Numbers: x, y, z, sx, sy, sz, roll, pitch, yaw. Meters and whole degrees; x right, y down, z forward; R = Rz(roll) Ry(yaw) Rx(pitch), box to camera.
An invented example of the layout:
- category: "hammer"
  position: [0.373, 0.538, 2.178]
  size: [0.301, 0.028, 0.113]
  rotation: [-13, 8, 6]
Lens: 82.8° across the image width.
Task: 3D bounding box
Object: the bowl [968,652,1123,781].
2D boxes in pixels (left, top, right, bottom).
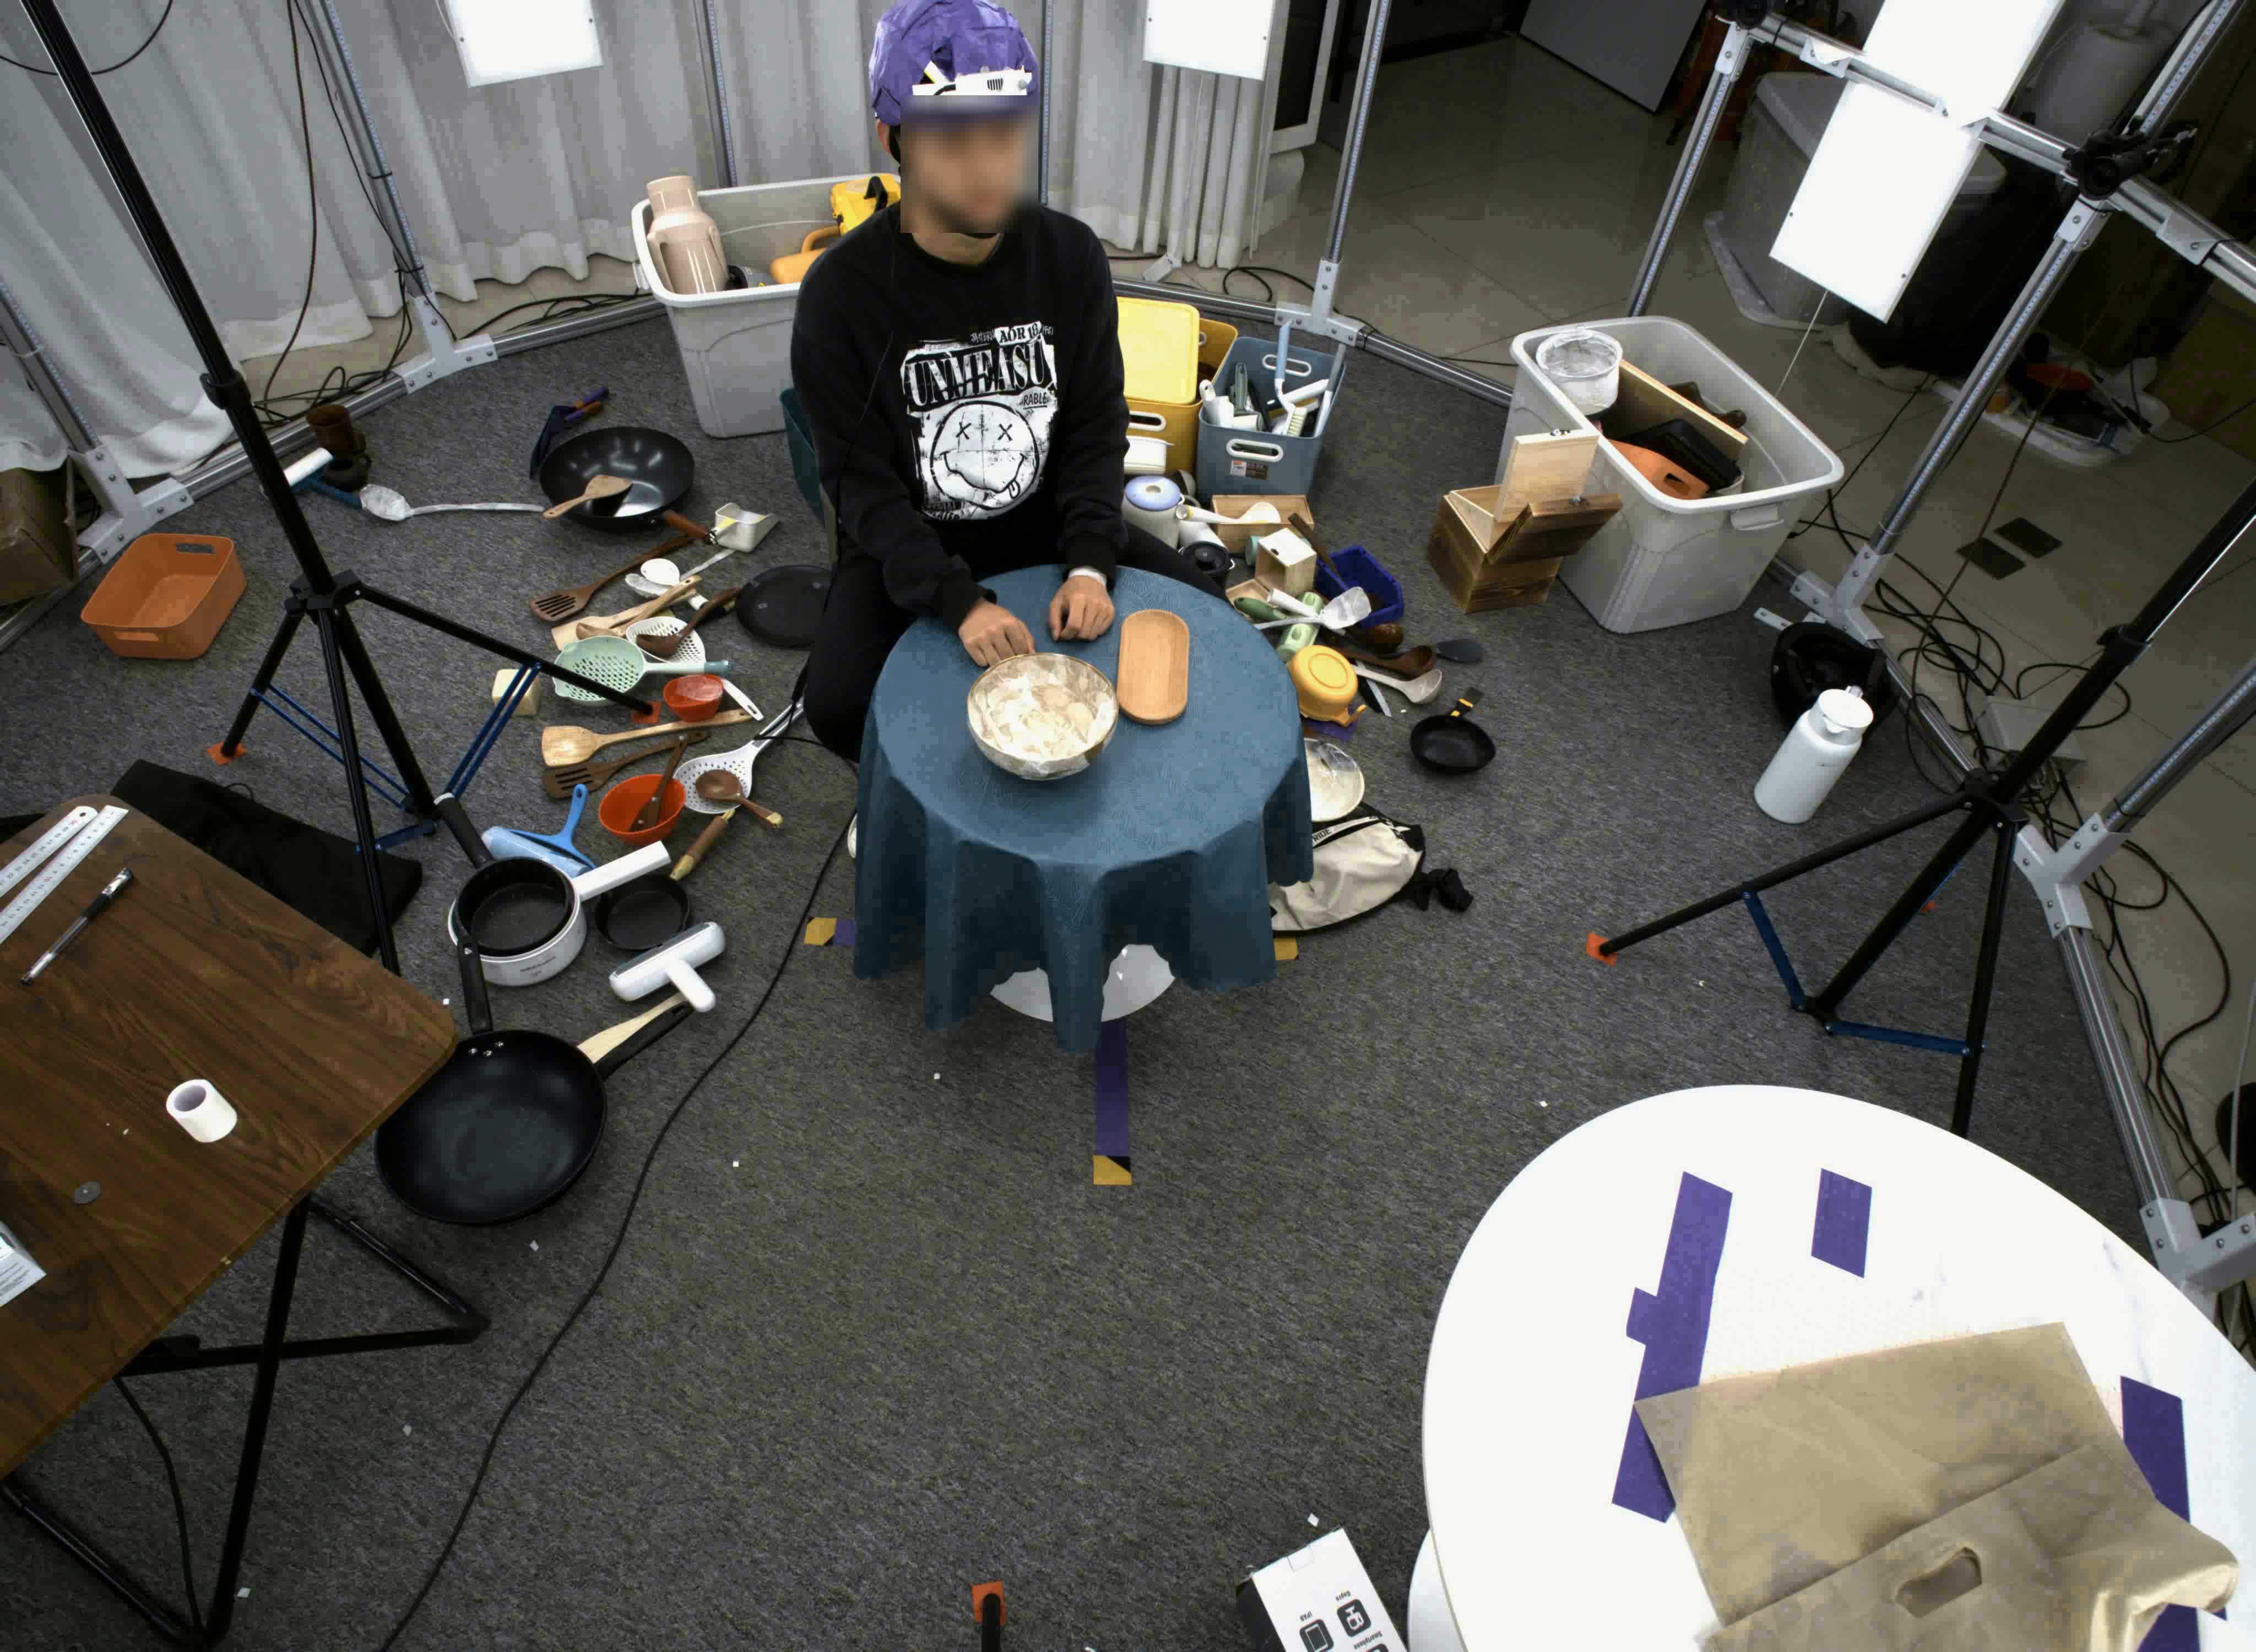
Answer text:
- category: "bowl"
  position: [-0.110, -0.134, 1.732]
  size: [0.214, 0.092, 0.220]
  rotation: [1, 49, -1]

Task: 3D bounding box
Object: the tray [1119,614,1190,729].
- category: "tray"
  position: [0.039, -0.229, 1.877]
  size: [0.101, 0.020, 0.237]
  rotation: [2, 51, 1]
